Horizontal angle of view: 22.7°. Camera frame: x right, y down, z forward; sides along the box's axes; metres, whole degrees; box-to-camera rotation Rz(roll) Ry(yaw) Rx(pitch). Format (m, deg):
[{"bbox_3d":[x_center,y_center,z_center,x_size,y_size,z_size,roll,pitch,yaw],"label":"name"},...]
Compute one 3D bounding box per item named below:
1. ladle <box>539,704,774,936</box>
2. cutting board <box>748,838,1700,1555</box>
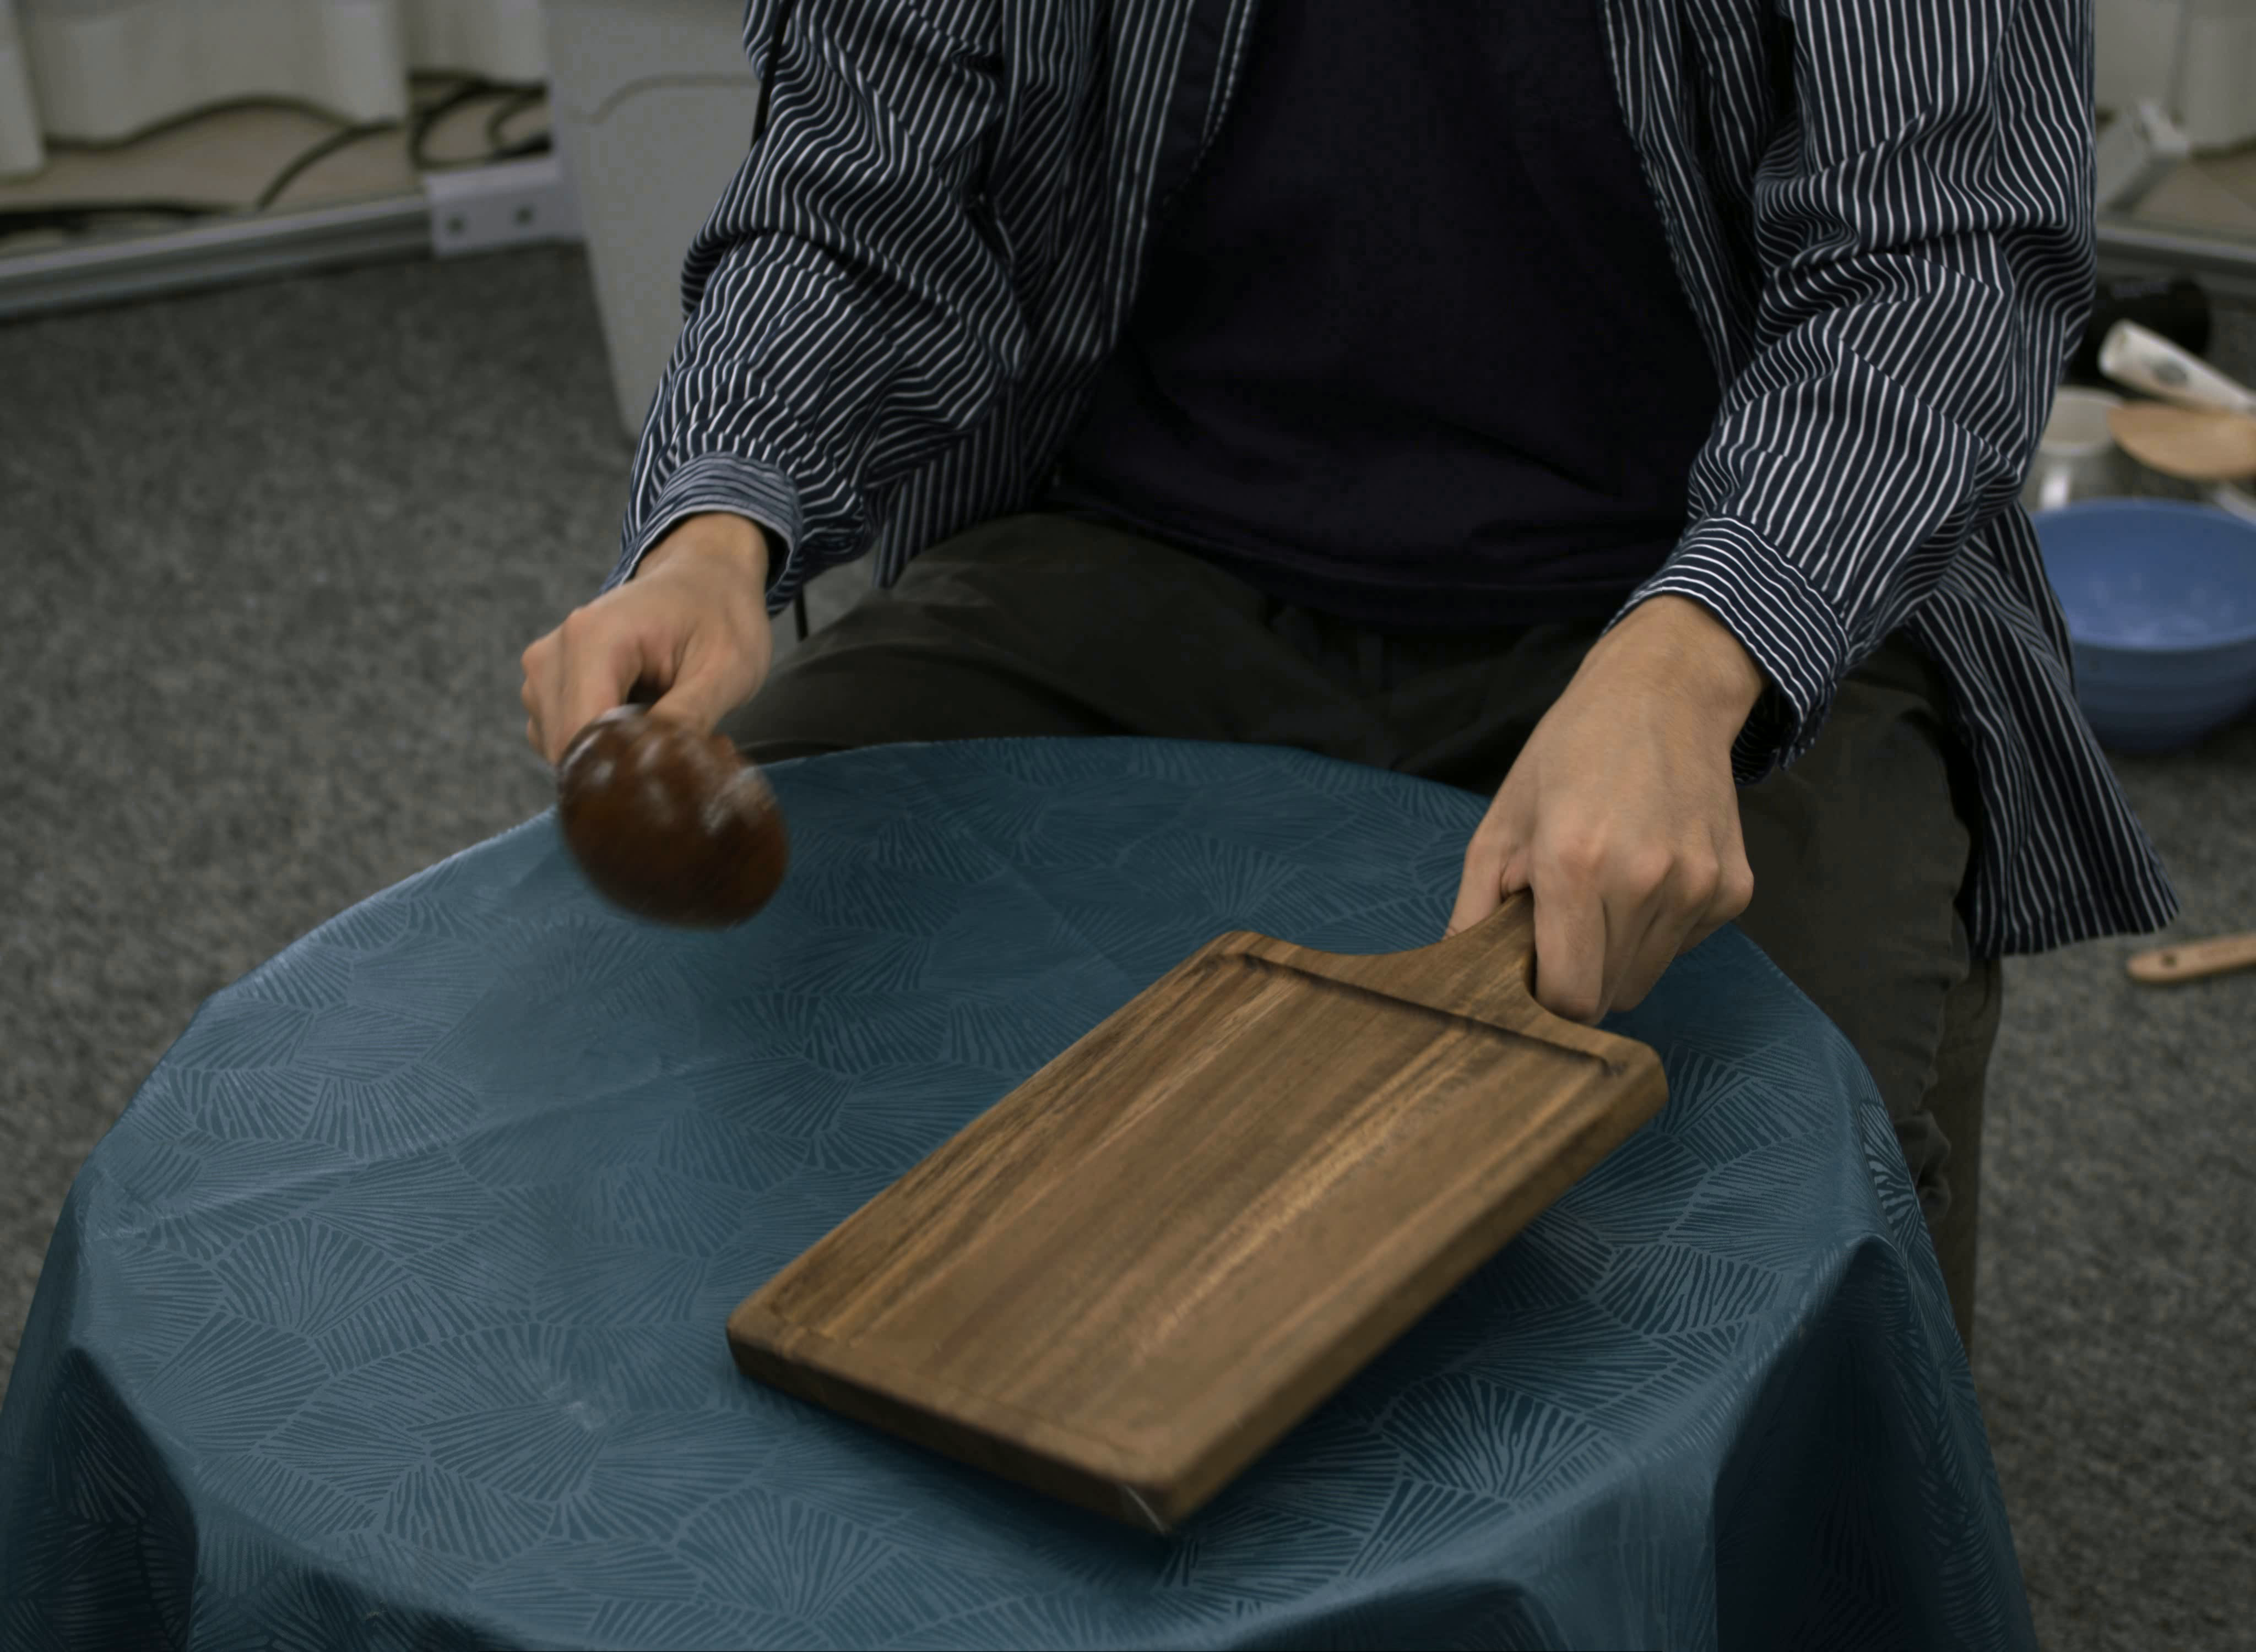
[{"bbox_3d":[-0.148,-0.021,1.867,0.076,0.082,0.276,-37,8,9],"label":"ladle"},{"bbox_3d":[0.063,0.101,1.791,0.200,0.023,0.357,15,41,43],"label":"cutting board"}]
